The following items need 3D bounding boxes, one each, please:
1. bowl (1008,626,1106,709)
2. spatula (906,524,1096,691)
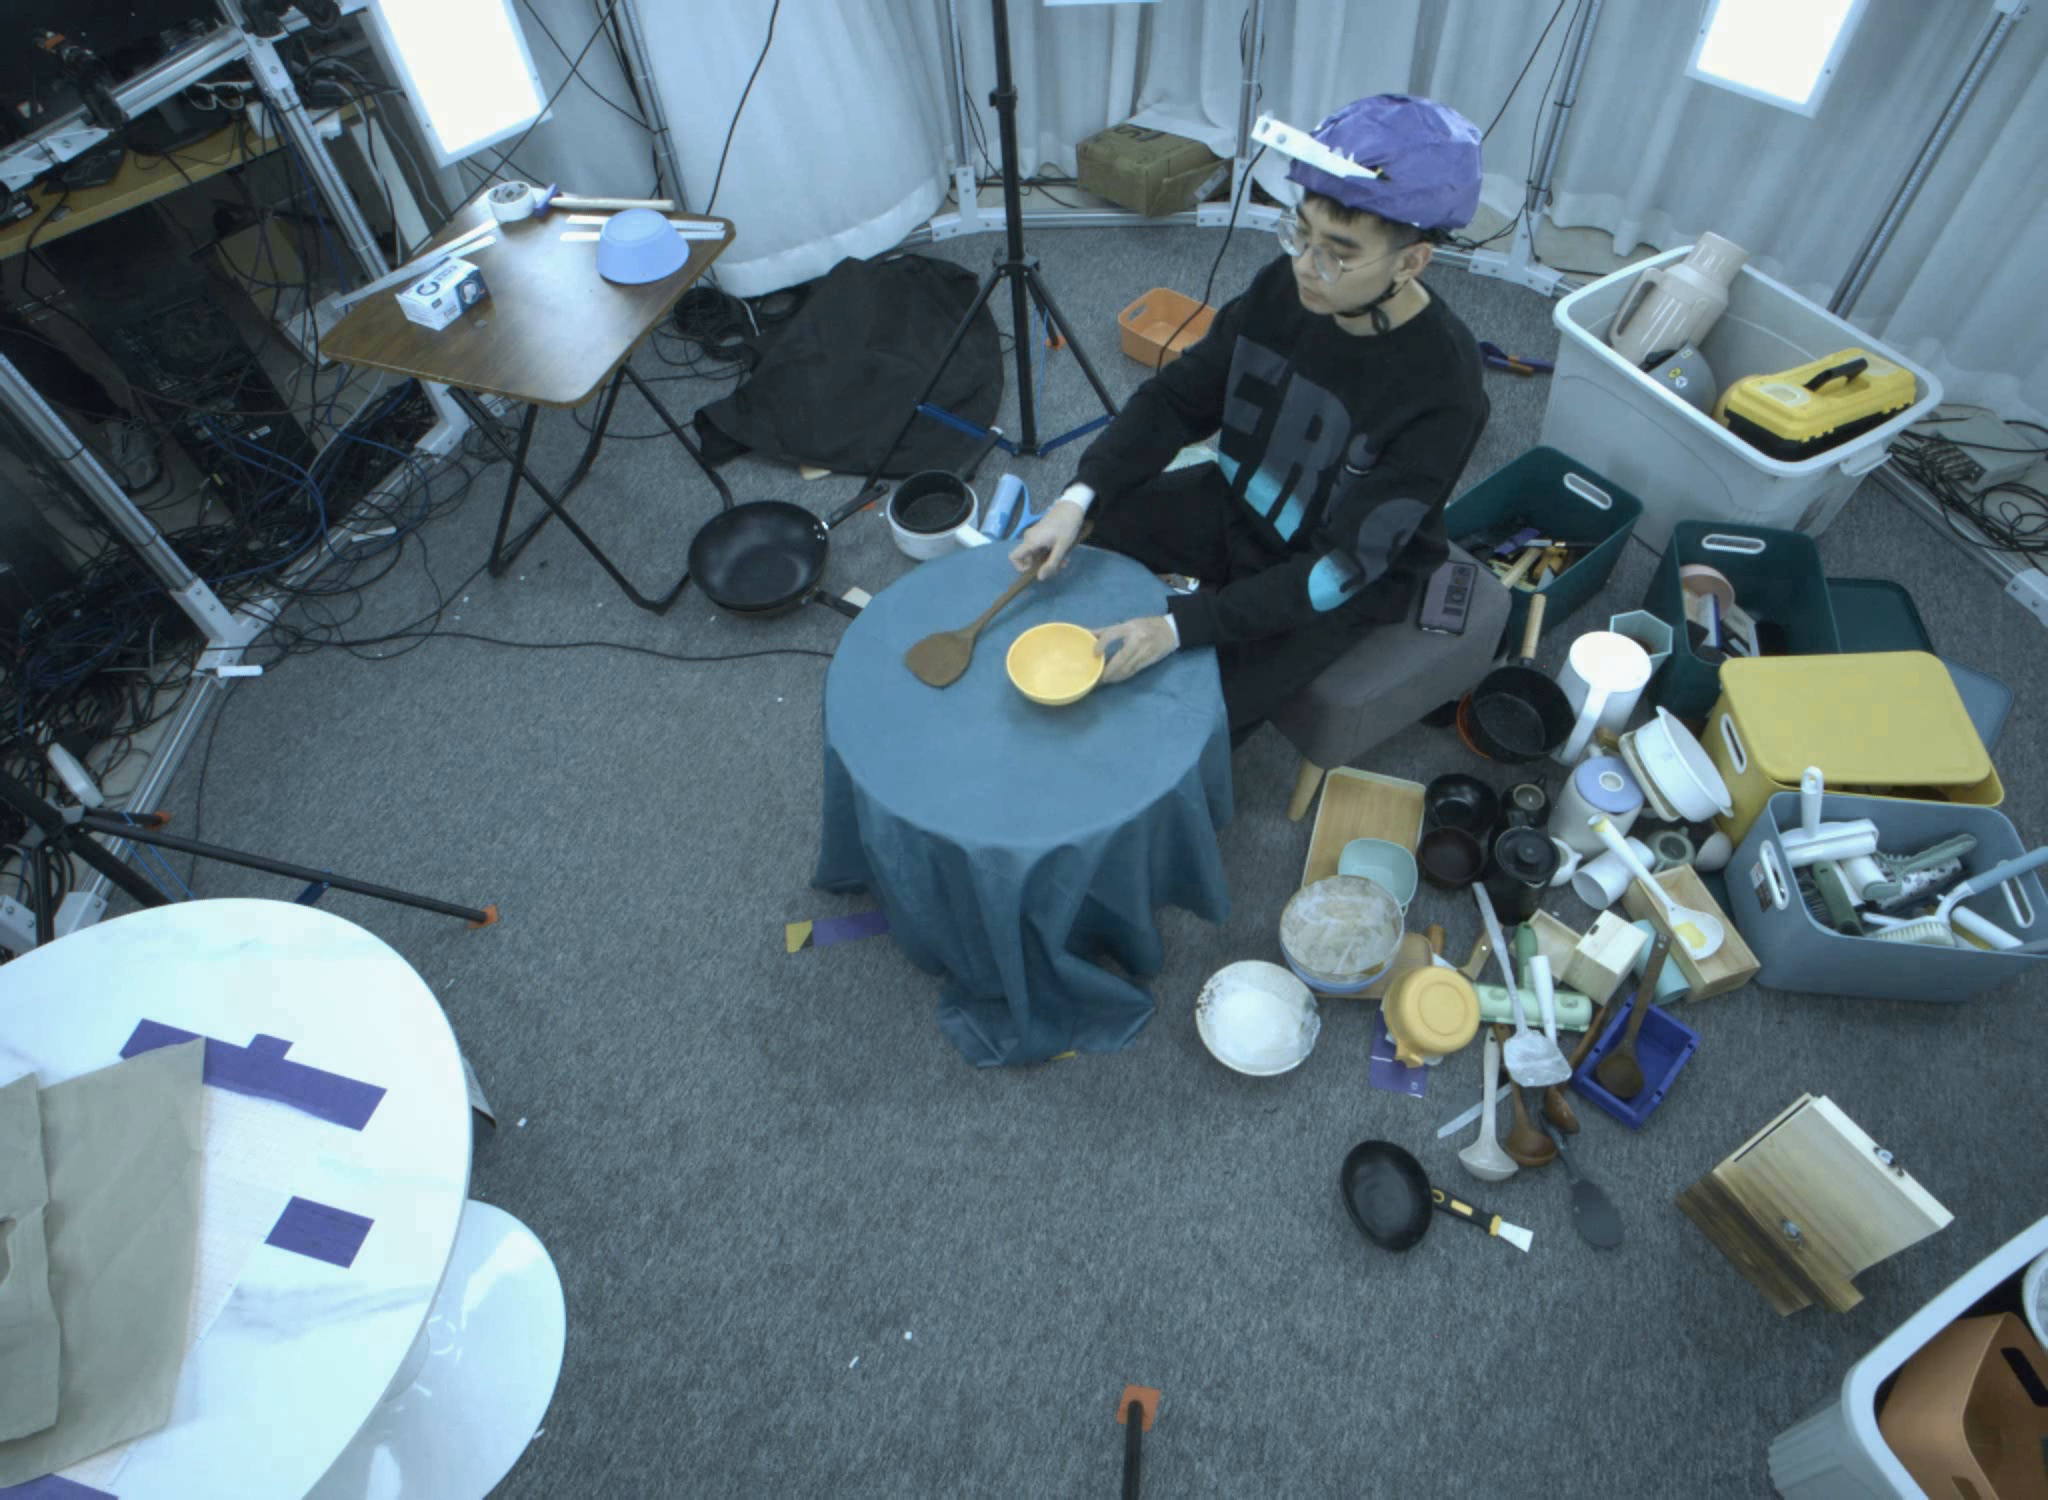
[{"bbox_3d":[0.050,-0.111,1.840,0.145,0.061,0.144,0,56,1],"label":"bowl"},{"bbox_3d":[-0.025,-0.235,1.927,0.094,0.016,0.387,40,74,23],"label":"spatula"}]
